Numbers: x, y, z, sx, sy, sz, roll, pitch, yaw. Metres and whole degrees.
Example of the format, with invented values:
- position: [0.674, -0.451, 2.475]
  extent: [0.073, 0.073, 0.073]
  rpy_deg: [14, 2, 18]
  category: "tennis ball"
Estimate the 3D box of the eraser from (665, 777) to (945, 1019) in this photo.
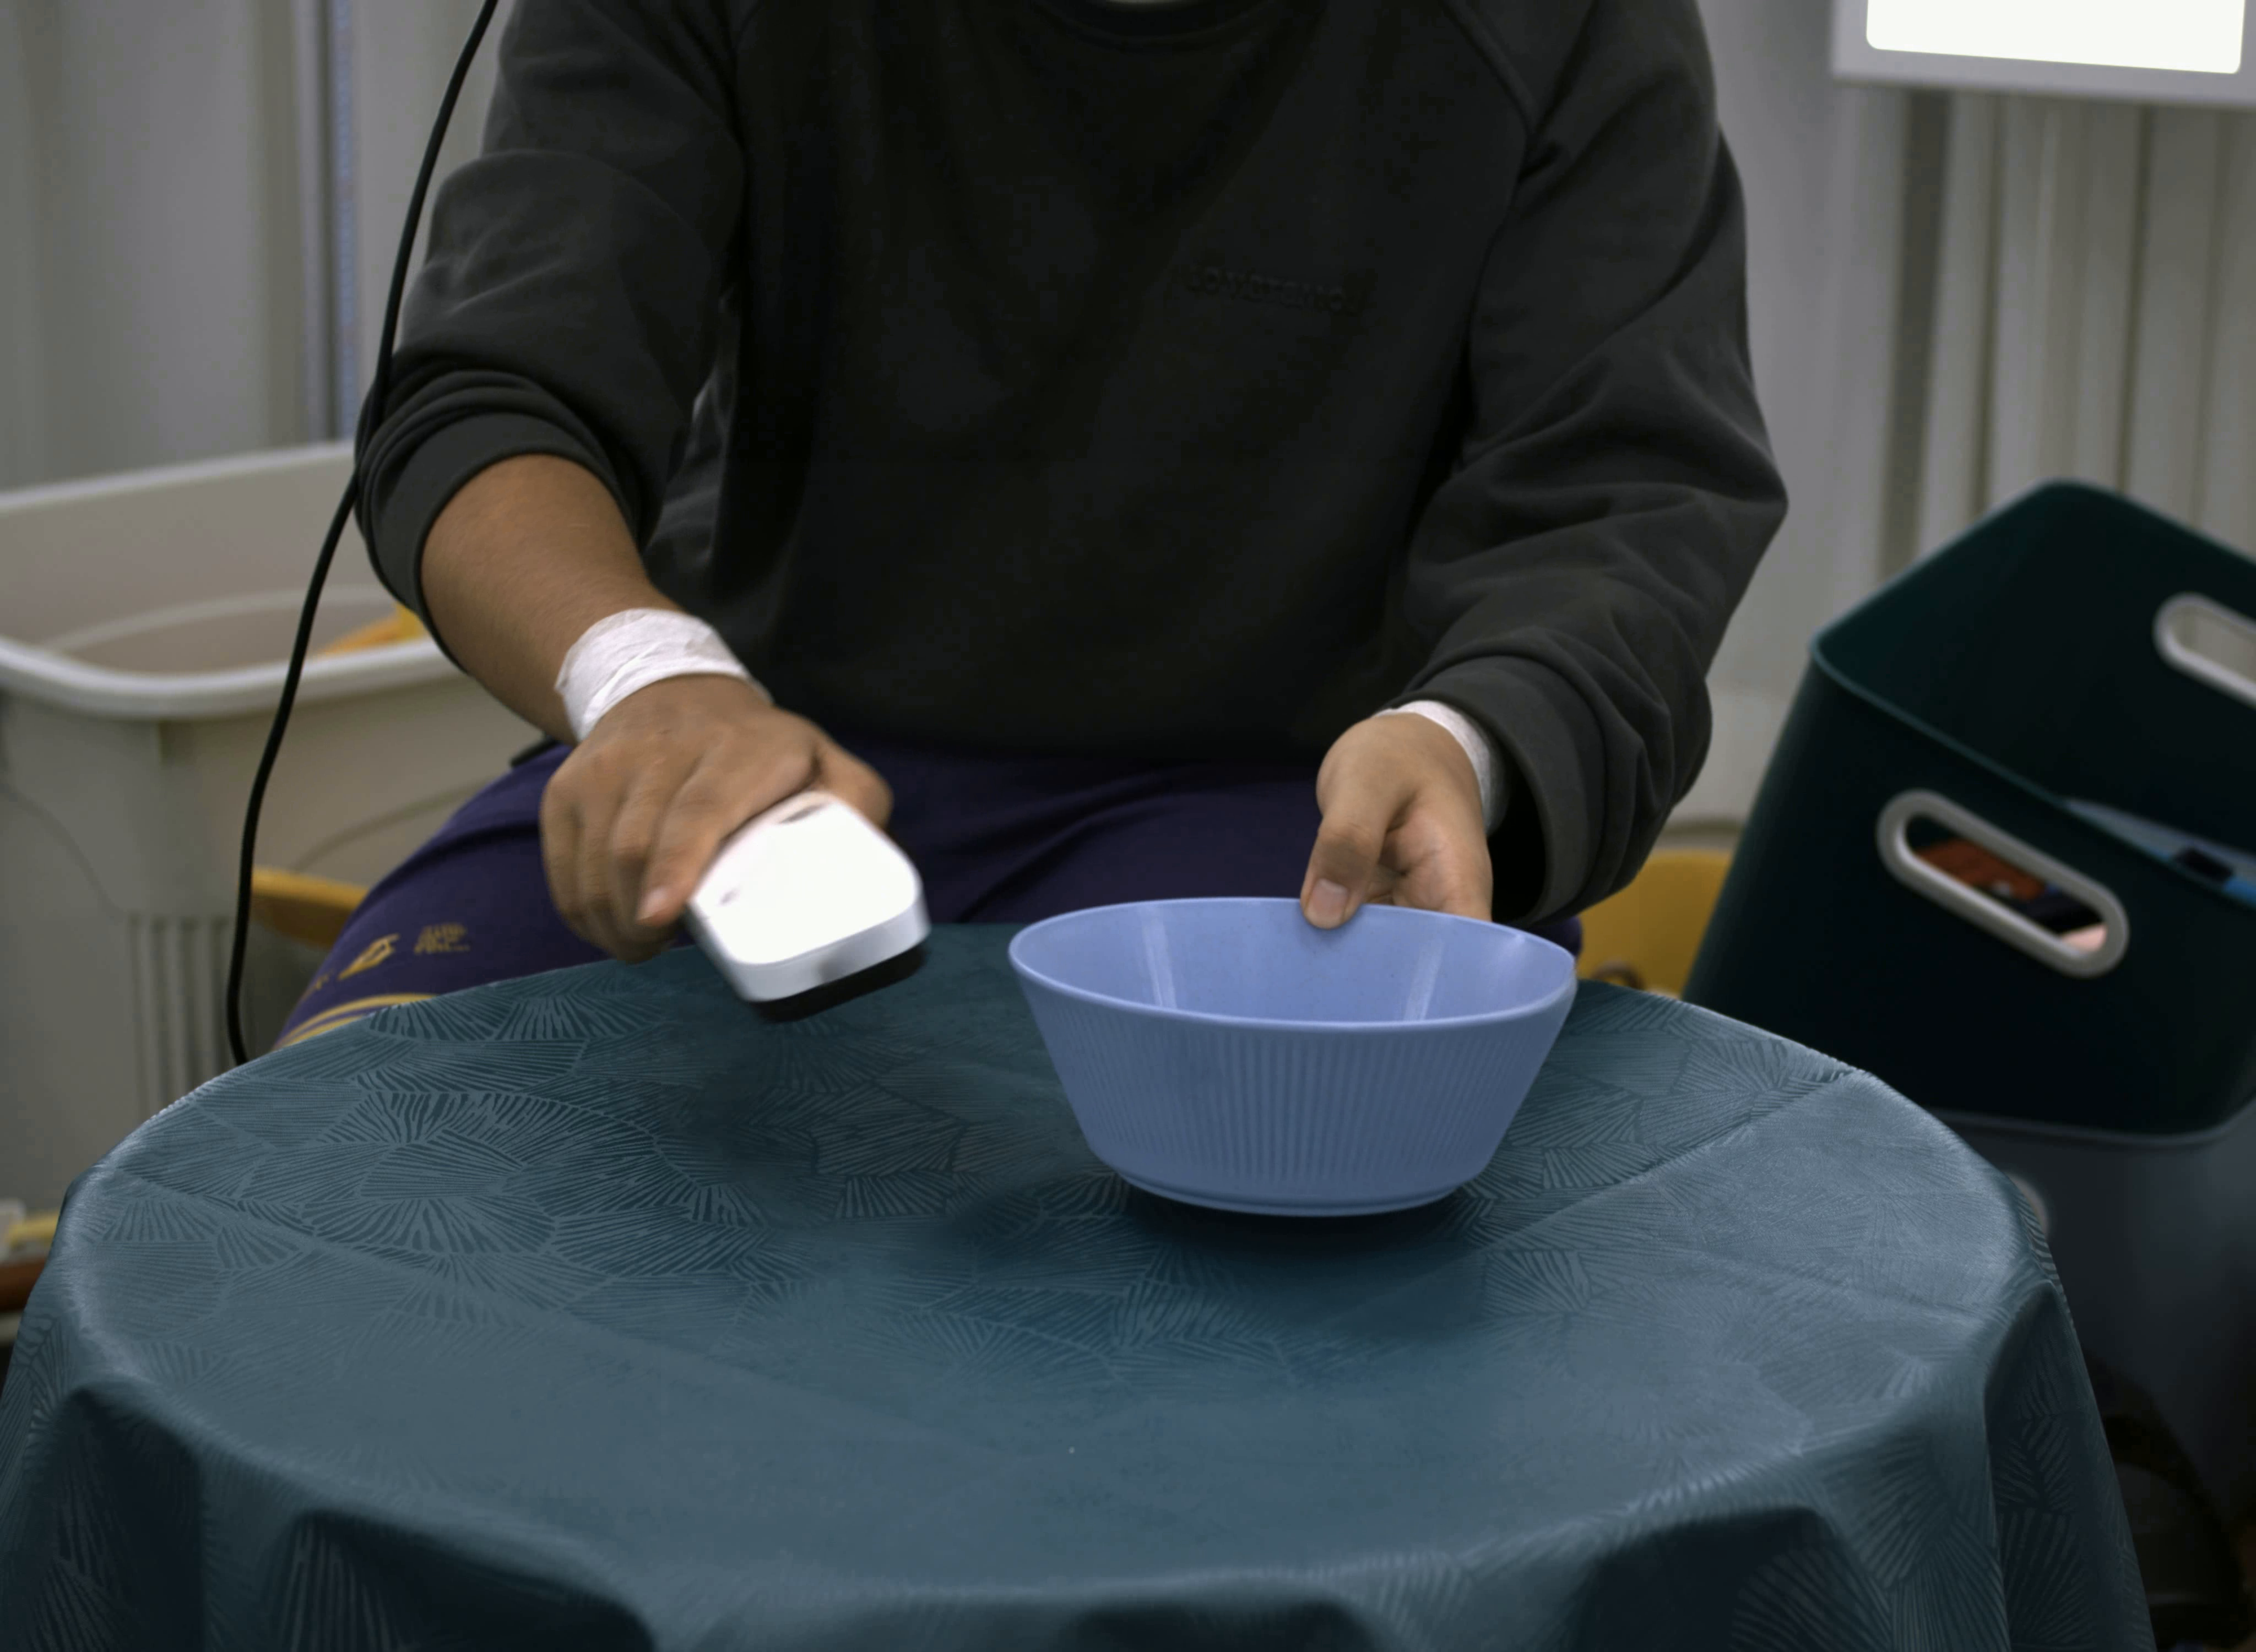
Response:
- position: [-0.098, 0.018, 1.621]
  extent: [0.063, 0.035, 0.130]
  rpy_deg: [-20, 24, -12]
  category: "eraser"

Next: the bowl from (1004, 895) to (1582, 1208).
- position: [0.048, 0.070, 1.602]
  extent: [0.175, 0.071, 0.175]
  rpy_deg: [3, 11, 0]
  category: "bowl"
